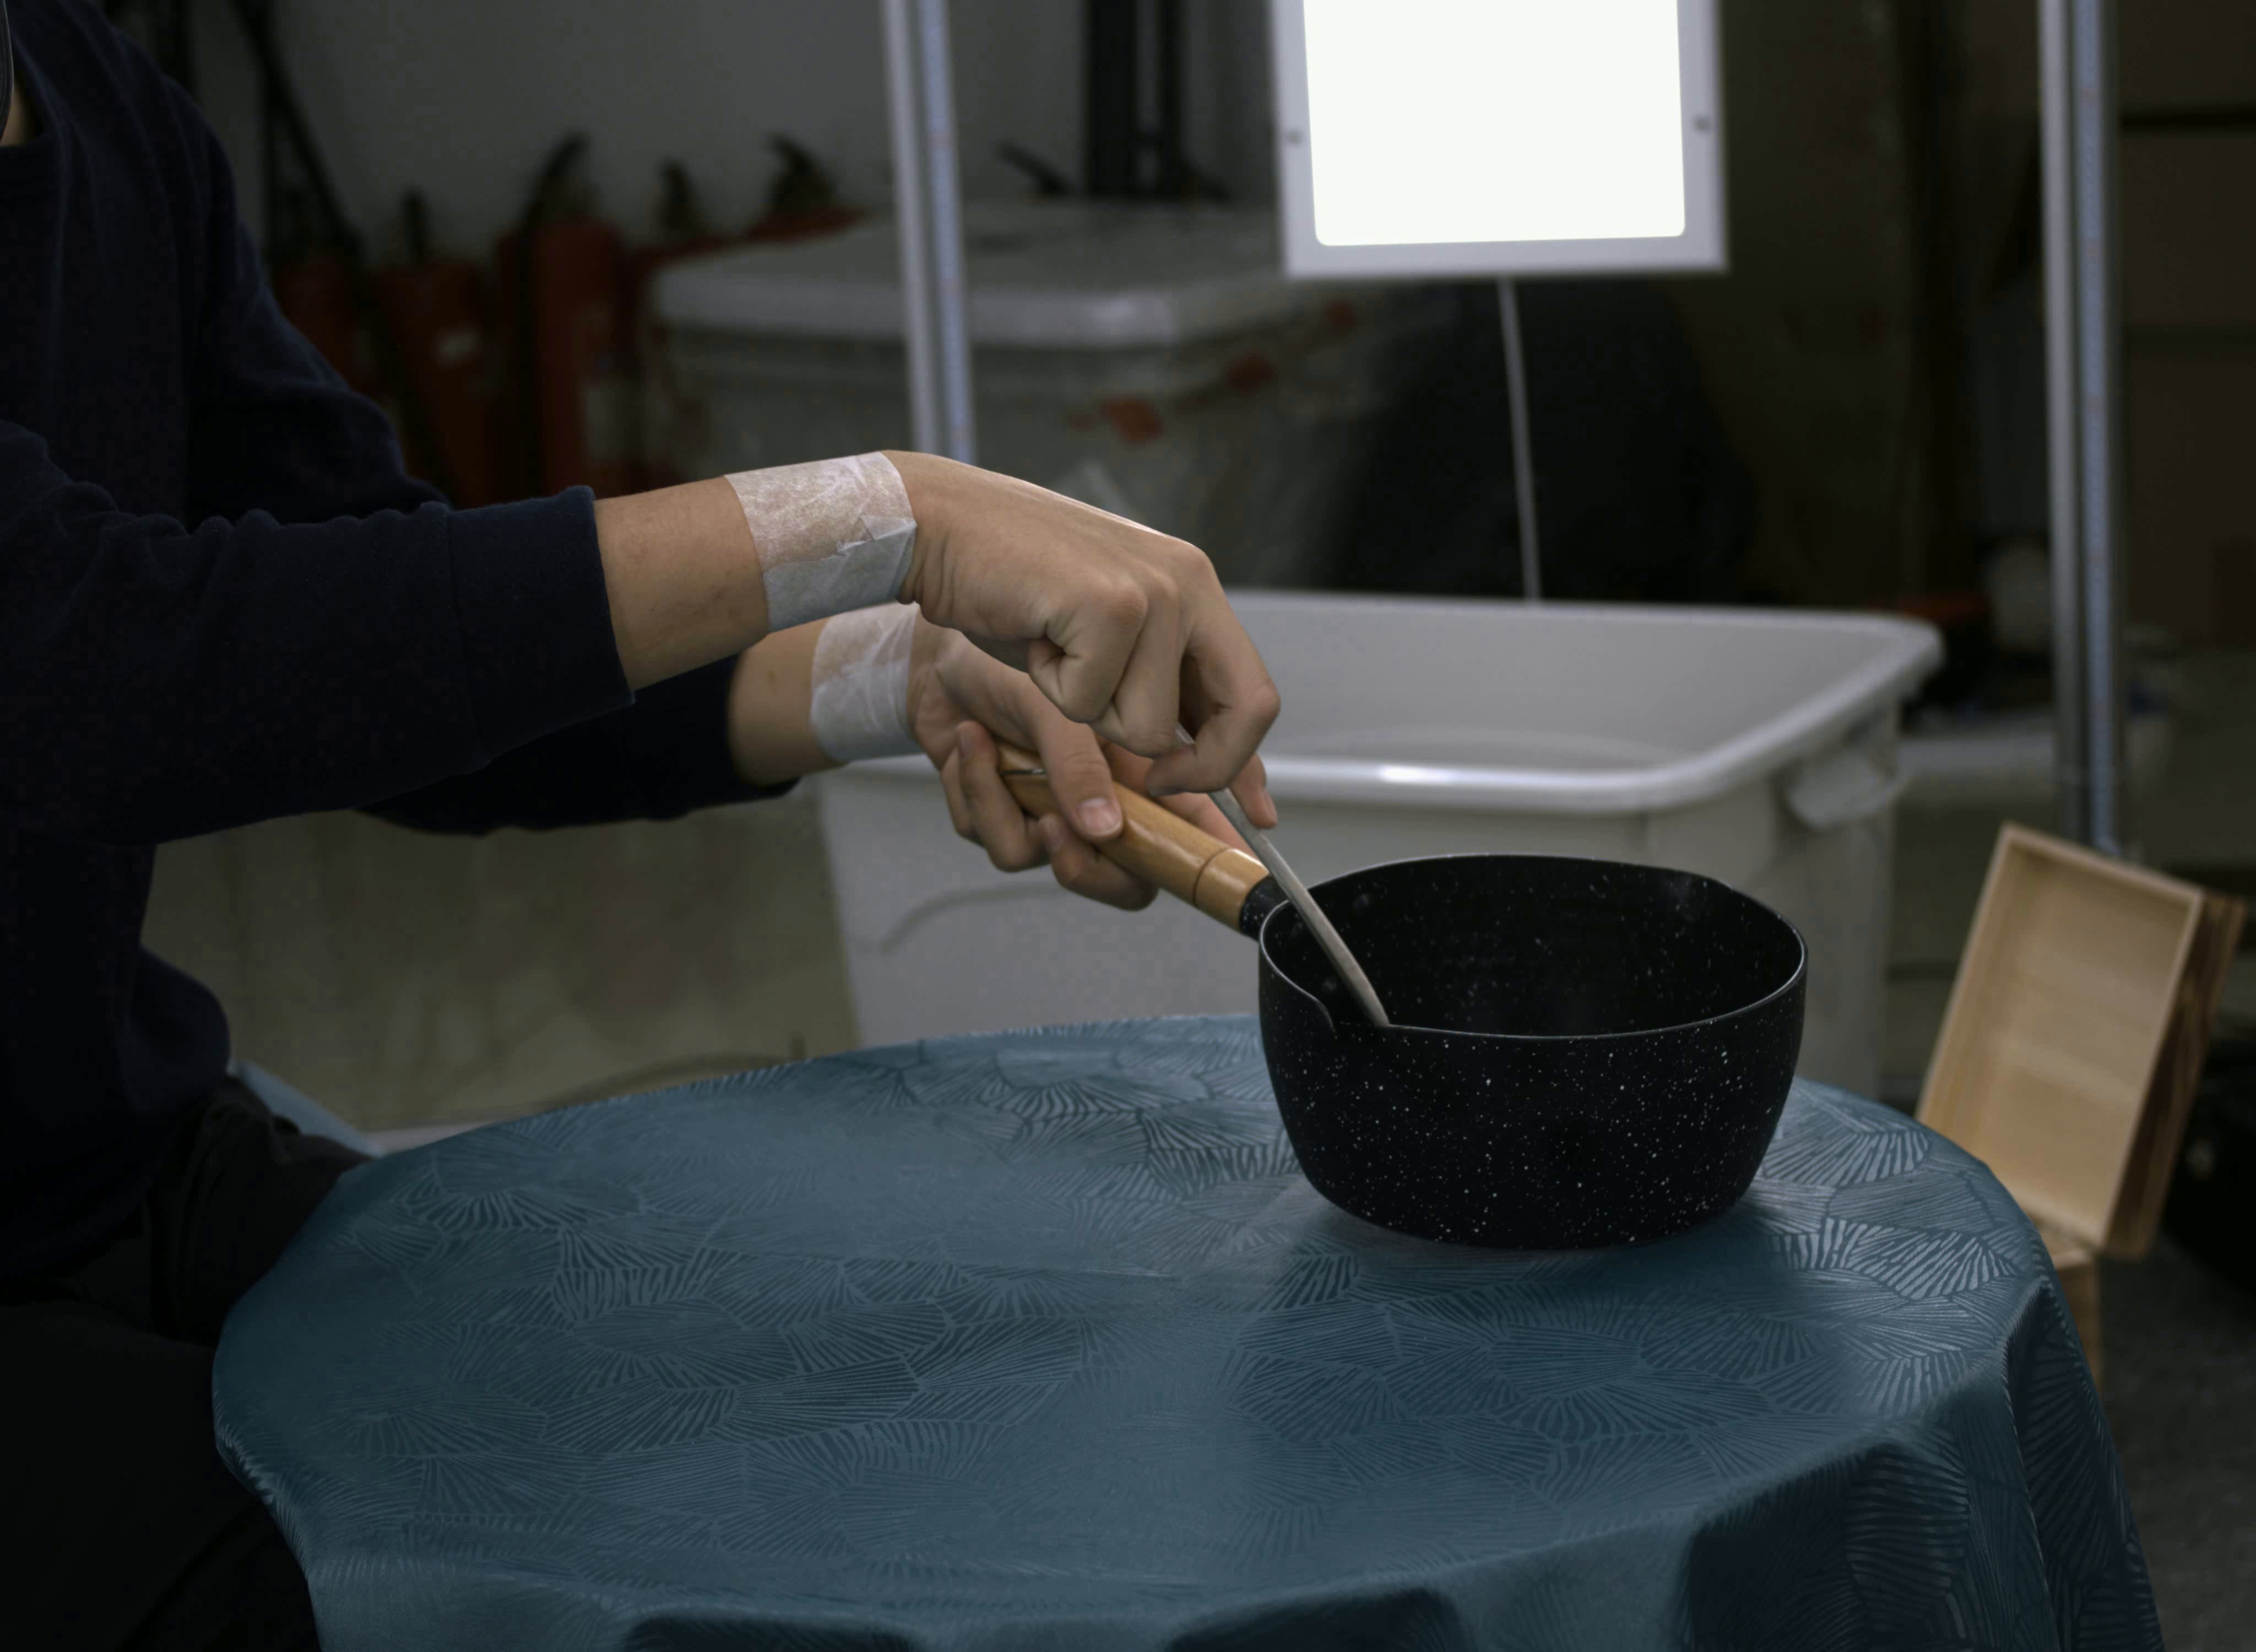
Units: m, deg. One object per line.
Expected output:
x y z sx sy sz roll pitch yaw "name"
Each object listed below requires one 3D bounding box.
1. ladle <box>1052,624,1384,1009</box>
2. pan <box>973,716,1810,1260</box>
0.073 0.015 1.781 0.069 0.272 0.090 -36 30 1 "ladle"
0.075 0.050 1.891 0.349 0.109 0.202 16 25 39 "pan"
